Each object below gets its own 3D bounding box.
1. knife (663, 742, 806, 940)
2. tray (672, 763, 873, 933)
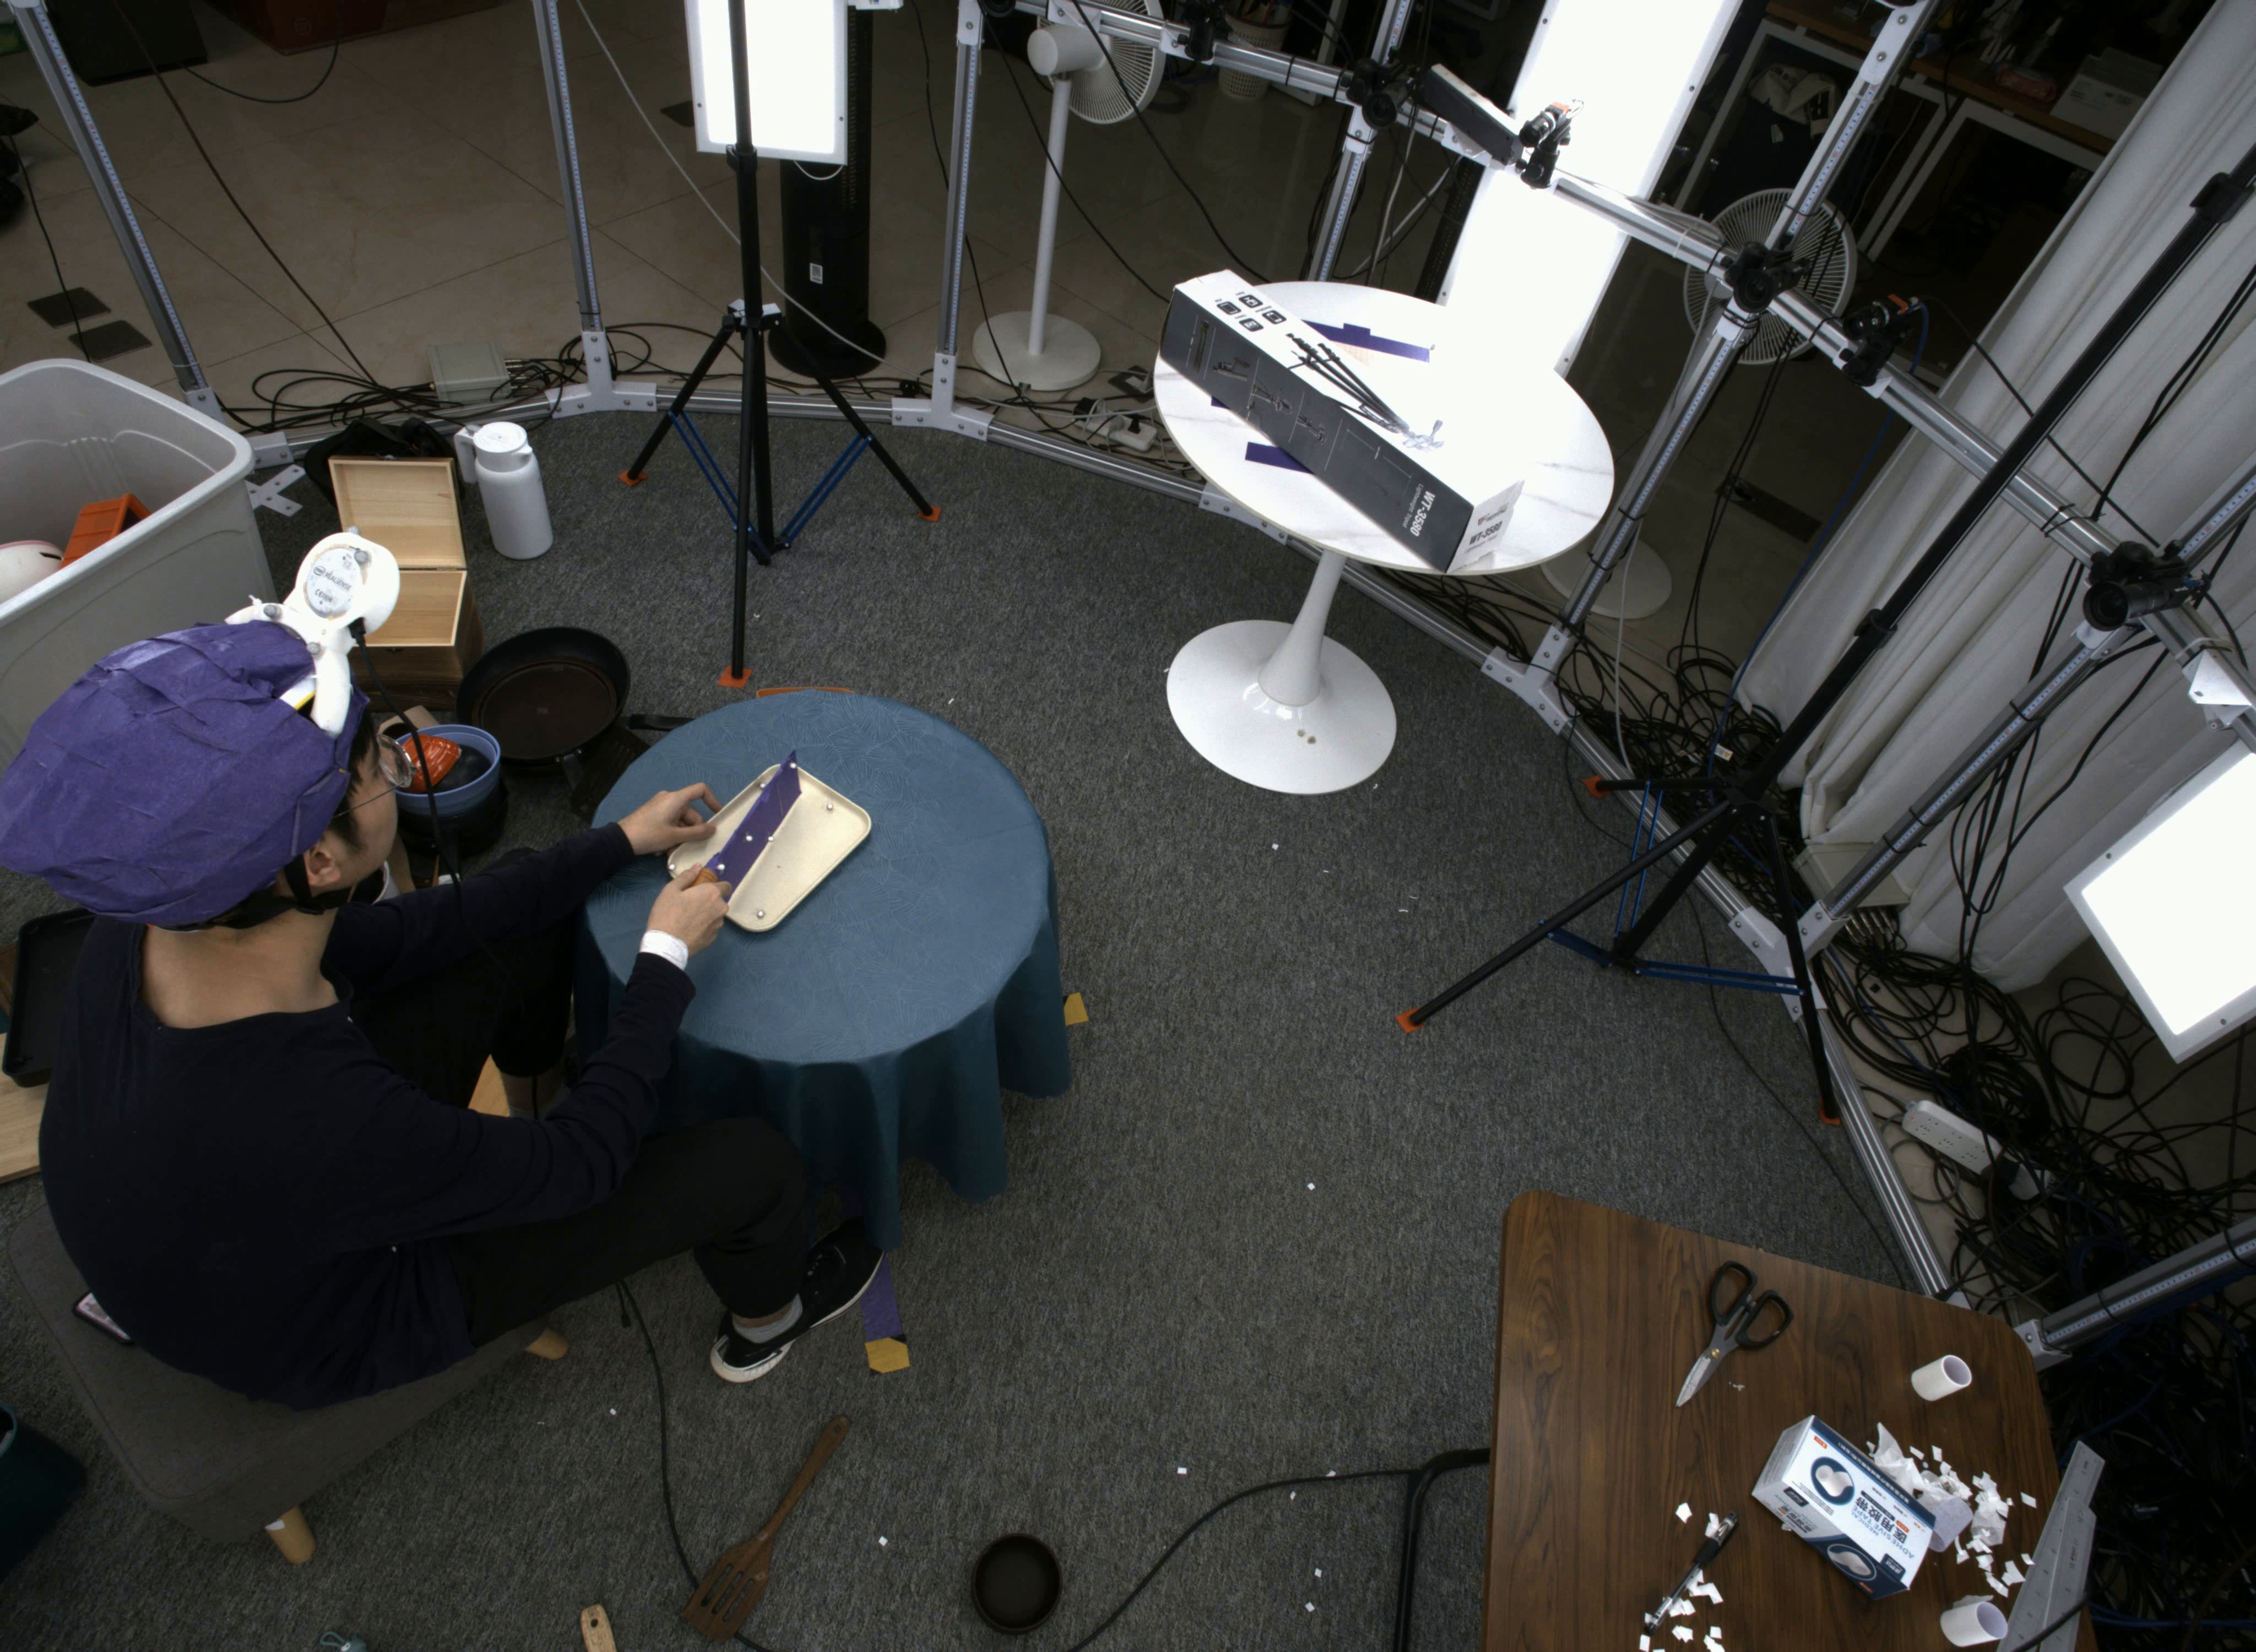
[{"bbox_3d":[-0.479,0.033,1.615,0.031,0.107,0.312,18,50,10],"label":"knife"},{"bbox_3d":[-0.462,0.025,1.691,0.169,0.018,0.239,34,53,7],"label":"tray"}]
